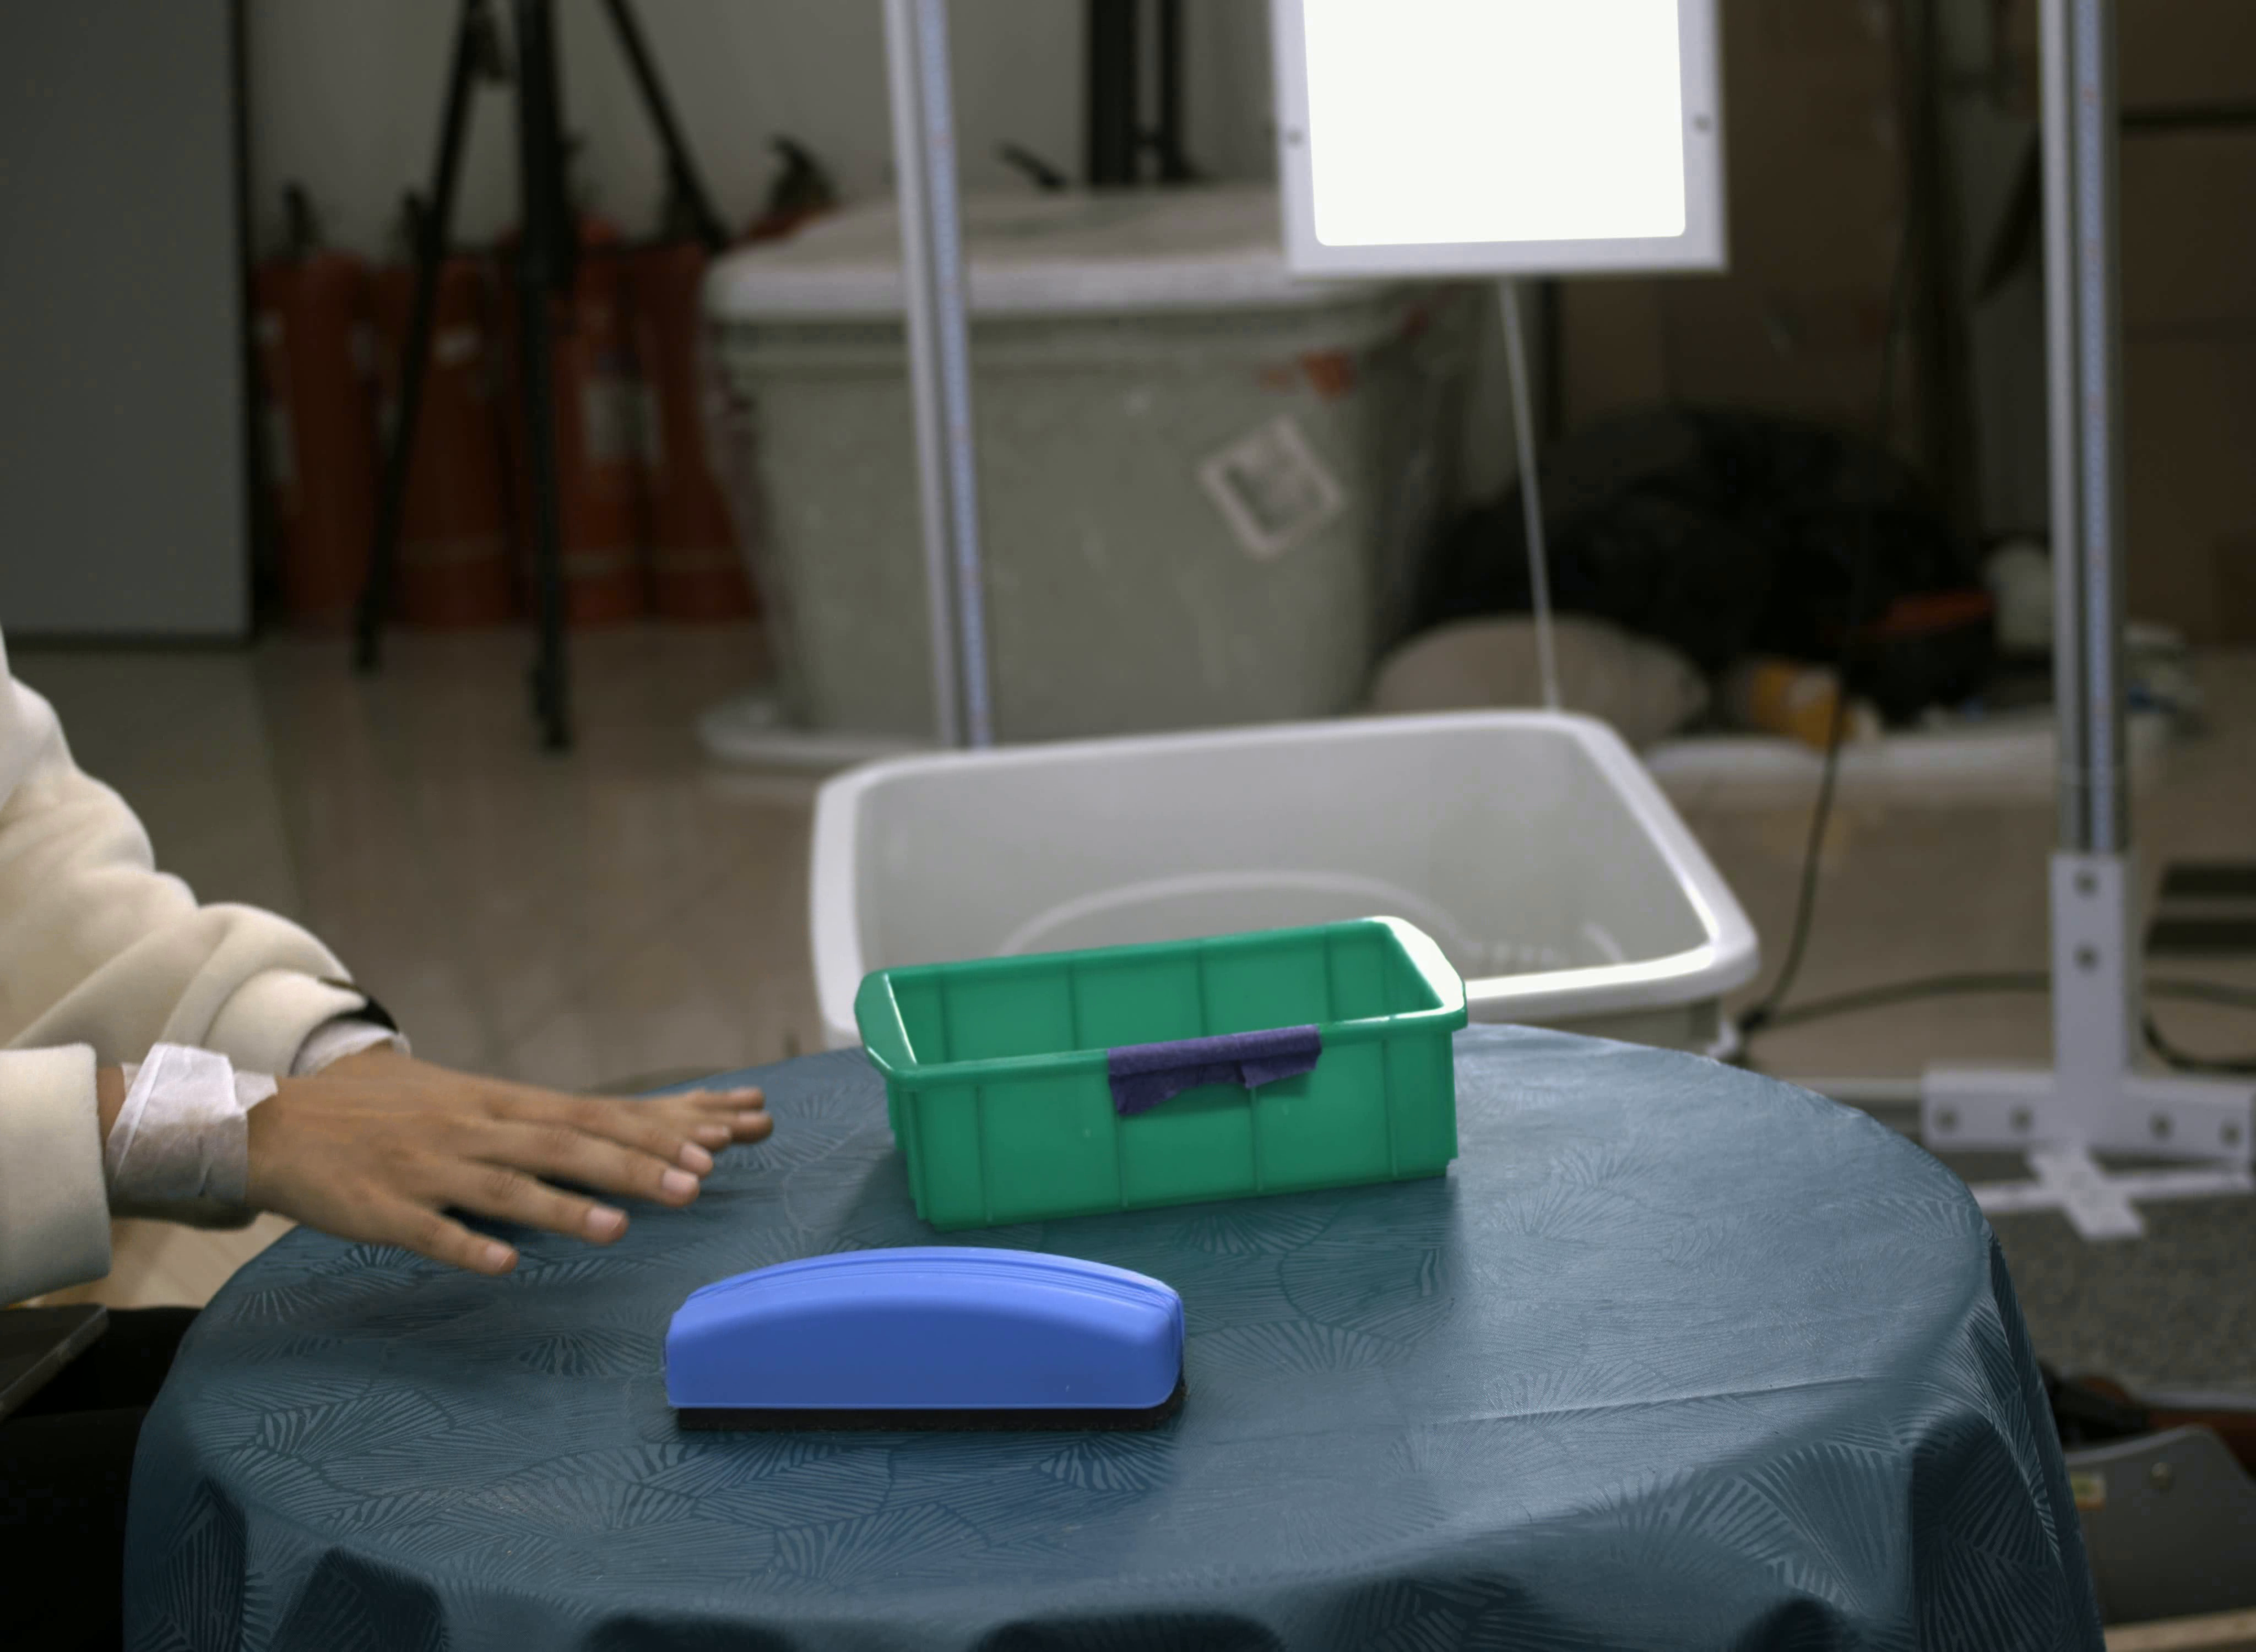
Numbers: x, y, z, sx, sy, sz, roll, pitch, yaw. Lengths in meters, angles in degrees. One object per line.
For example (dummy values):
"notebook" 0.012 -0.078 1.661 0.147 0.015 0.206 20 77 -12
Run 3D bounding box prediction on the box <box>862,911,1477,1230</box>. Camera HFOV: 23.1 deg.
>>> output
"box" 0.015 0.086 1.930 0.209 0.065 0.139 -6 16 -6

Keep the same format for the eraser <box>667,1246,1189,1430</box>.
"eraser" -0.062 0.157 1.700 0.163 0.048 0.053 -1 14 14
